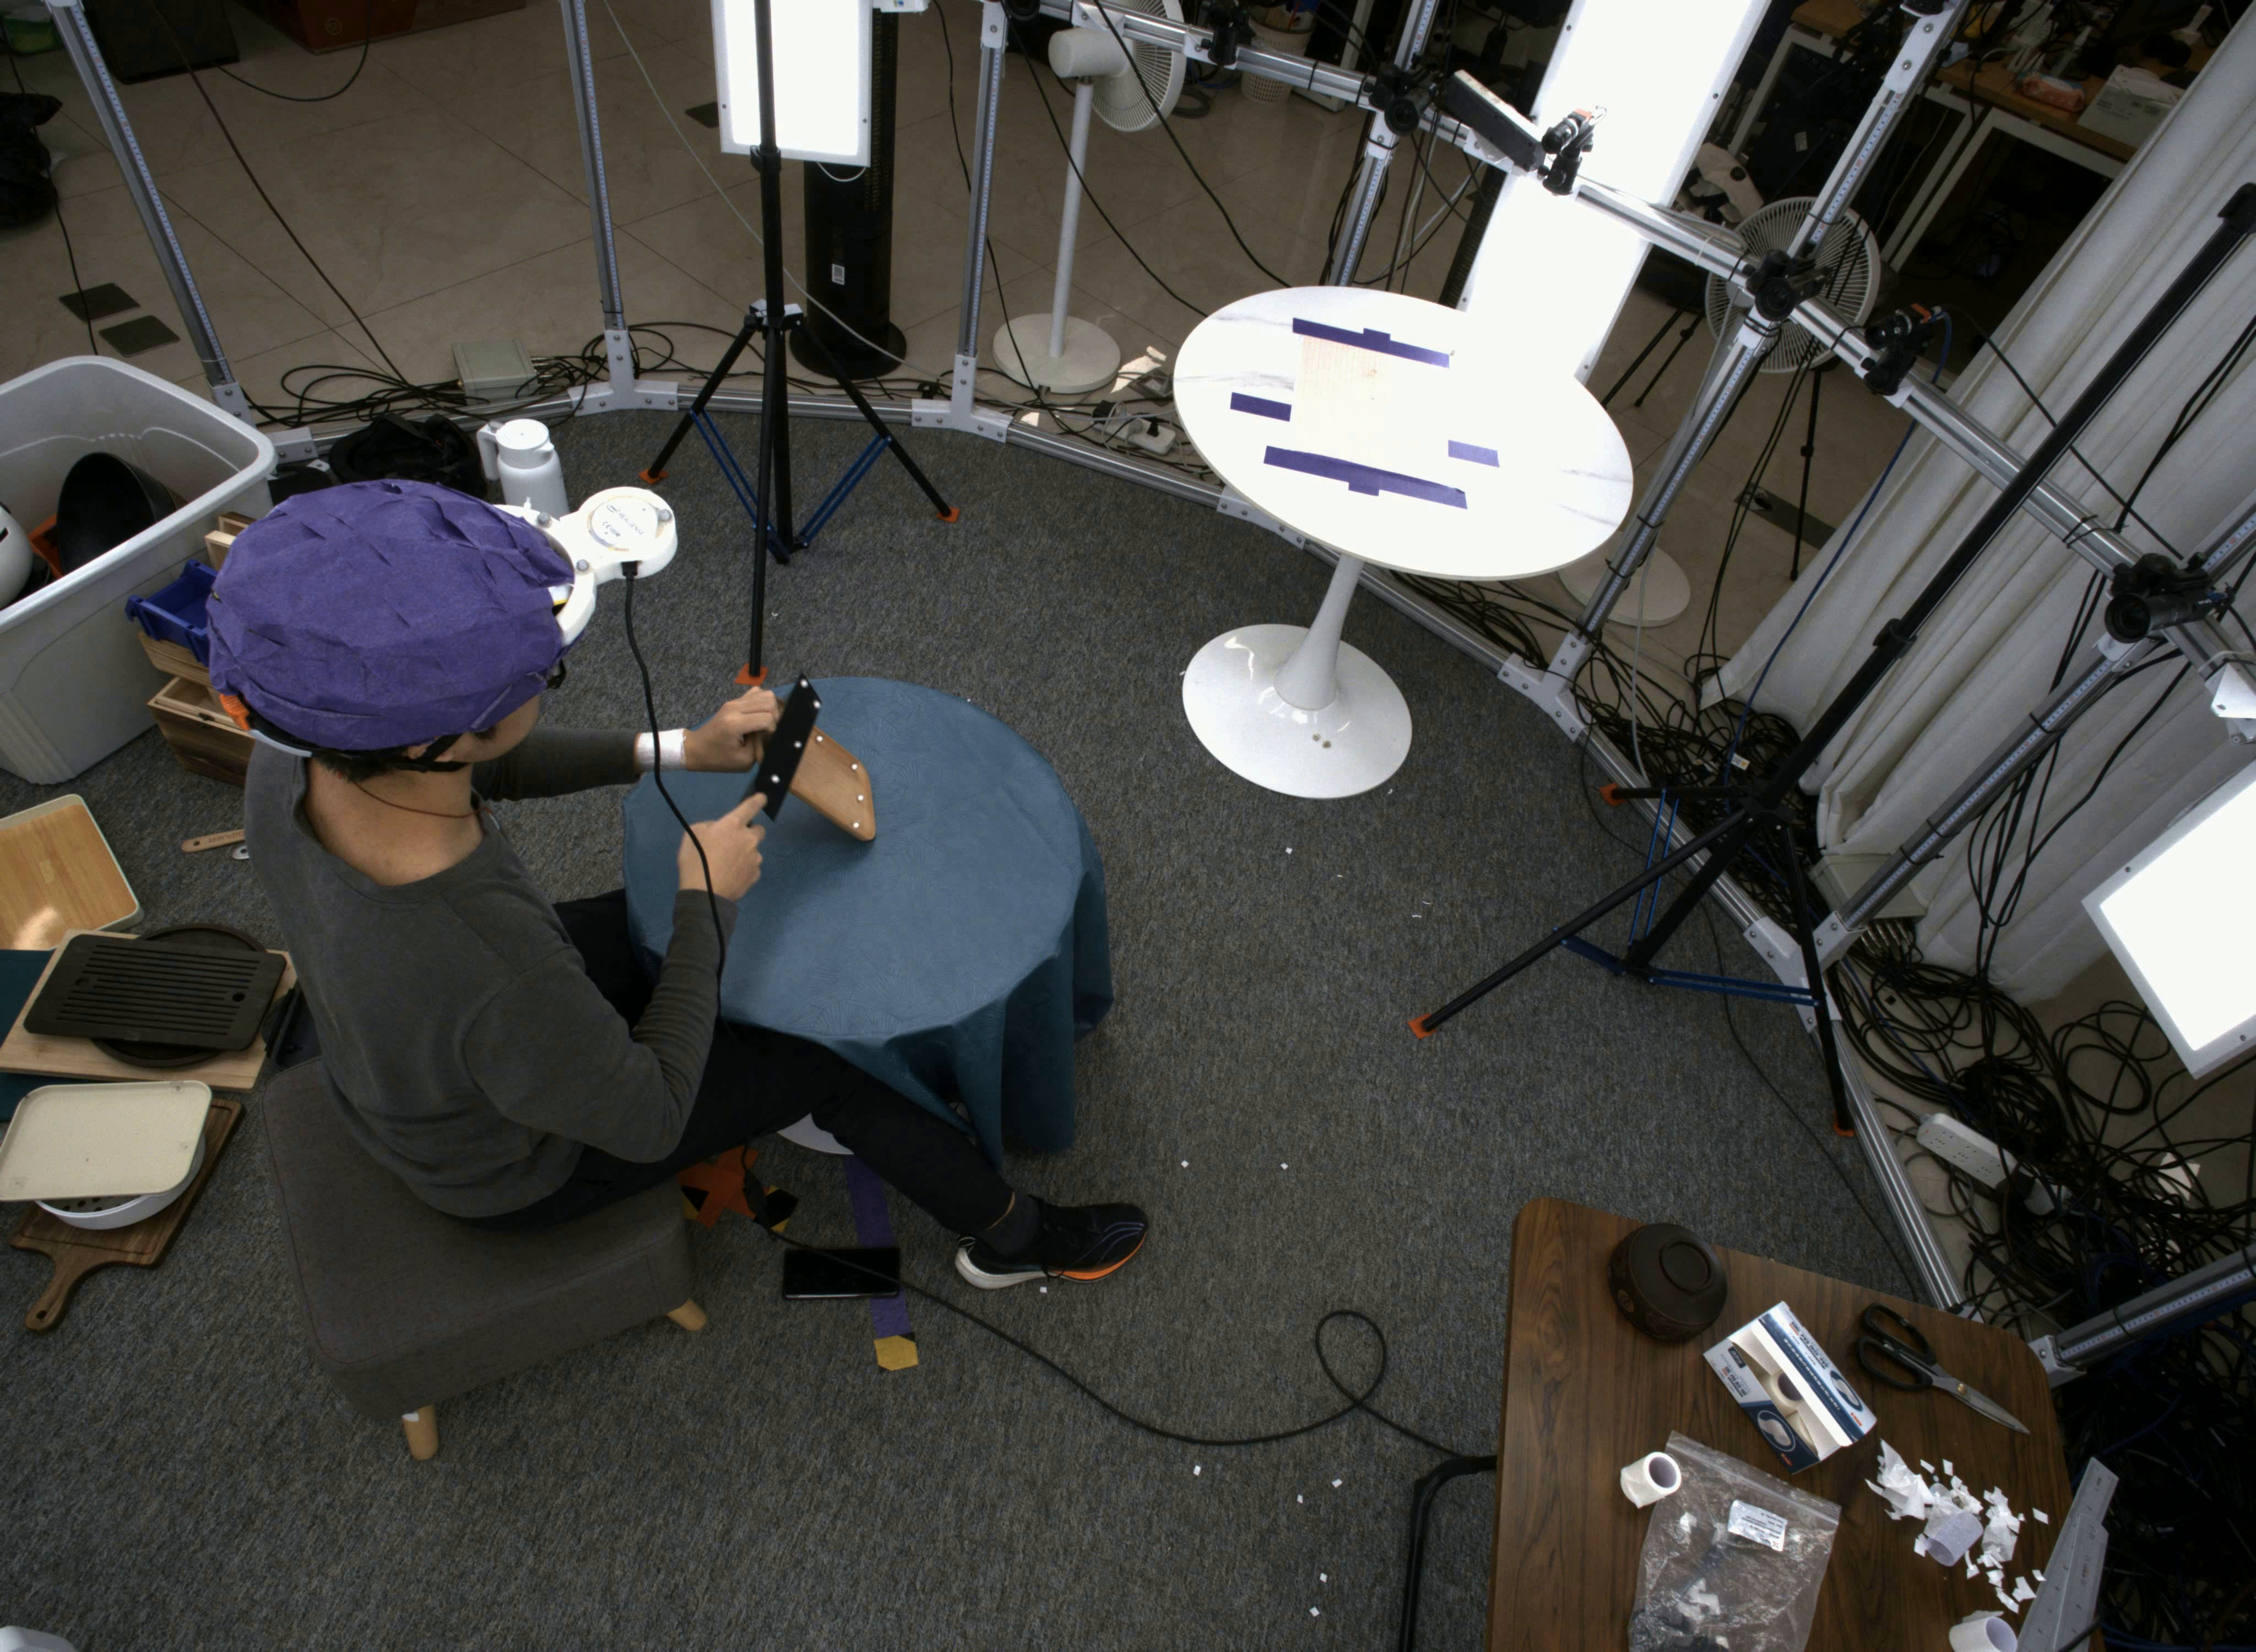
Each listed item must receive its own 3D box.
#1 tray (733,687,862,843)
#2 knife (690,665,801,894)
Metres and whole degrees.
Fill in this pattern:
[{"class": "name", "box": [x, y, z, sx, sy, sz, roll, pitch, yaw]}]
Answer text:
[{"class": "tray", "box": [-0.419, -0.073, 1.651, 0.022, 0.259, 0.128, -23, 60, 14]}, {"class": "knife", "box": [-0.443, -0.054, 1.510, 0.020, 0.084, 0.299, 3, 55, 17]}]
